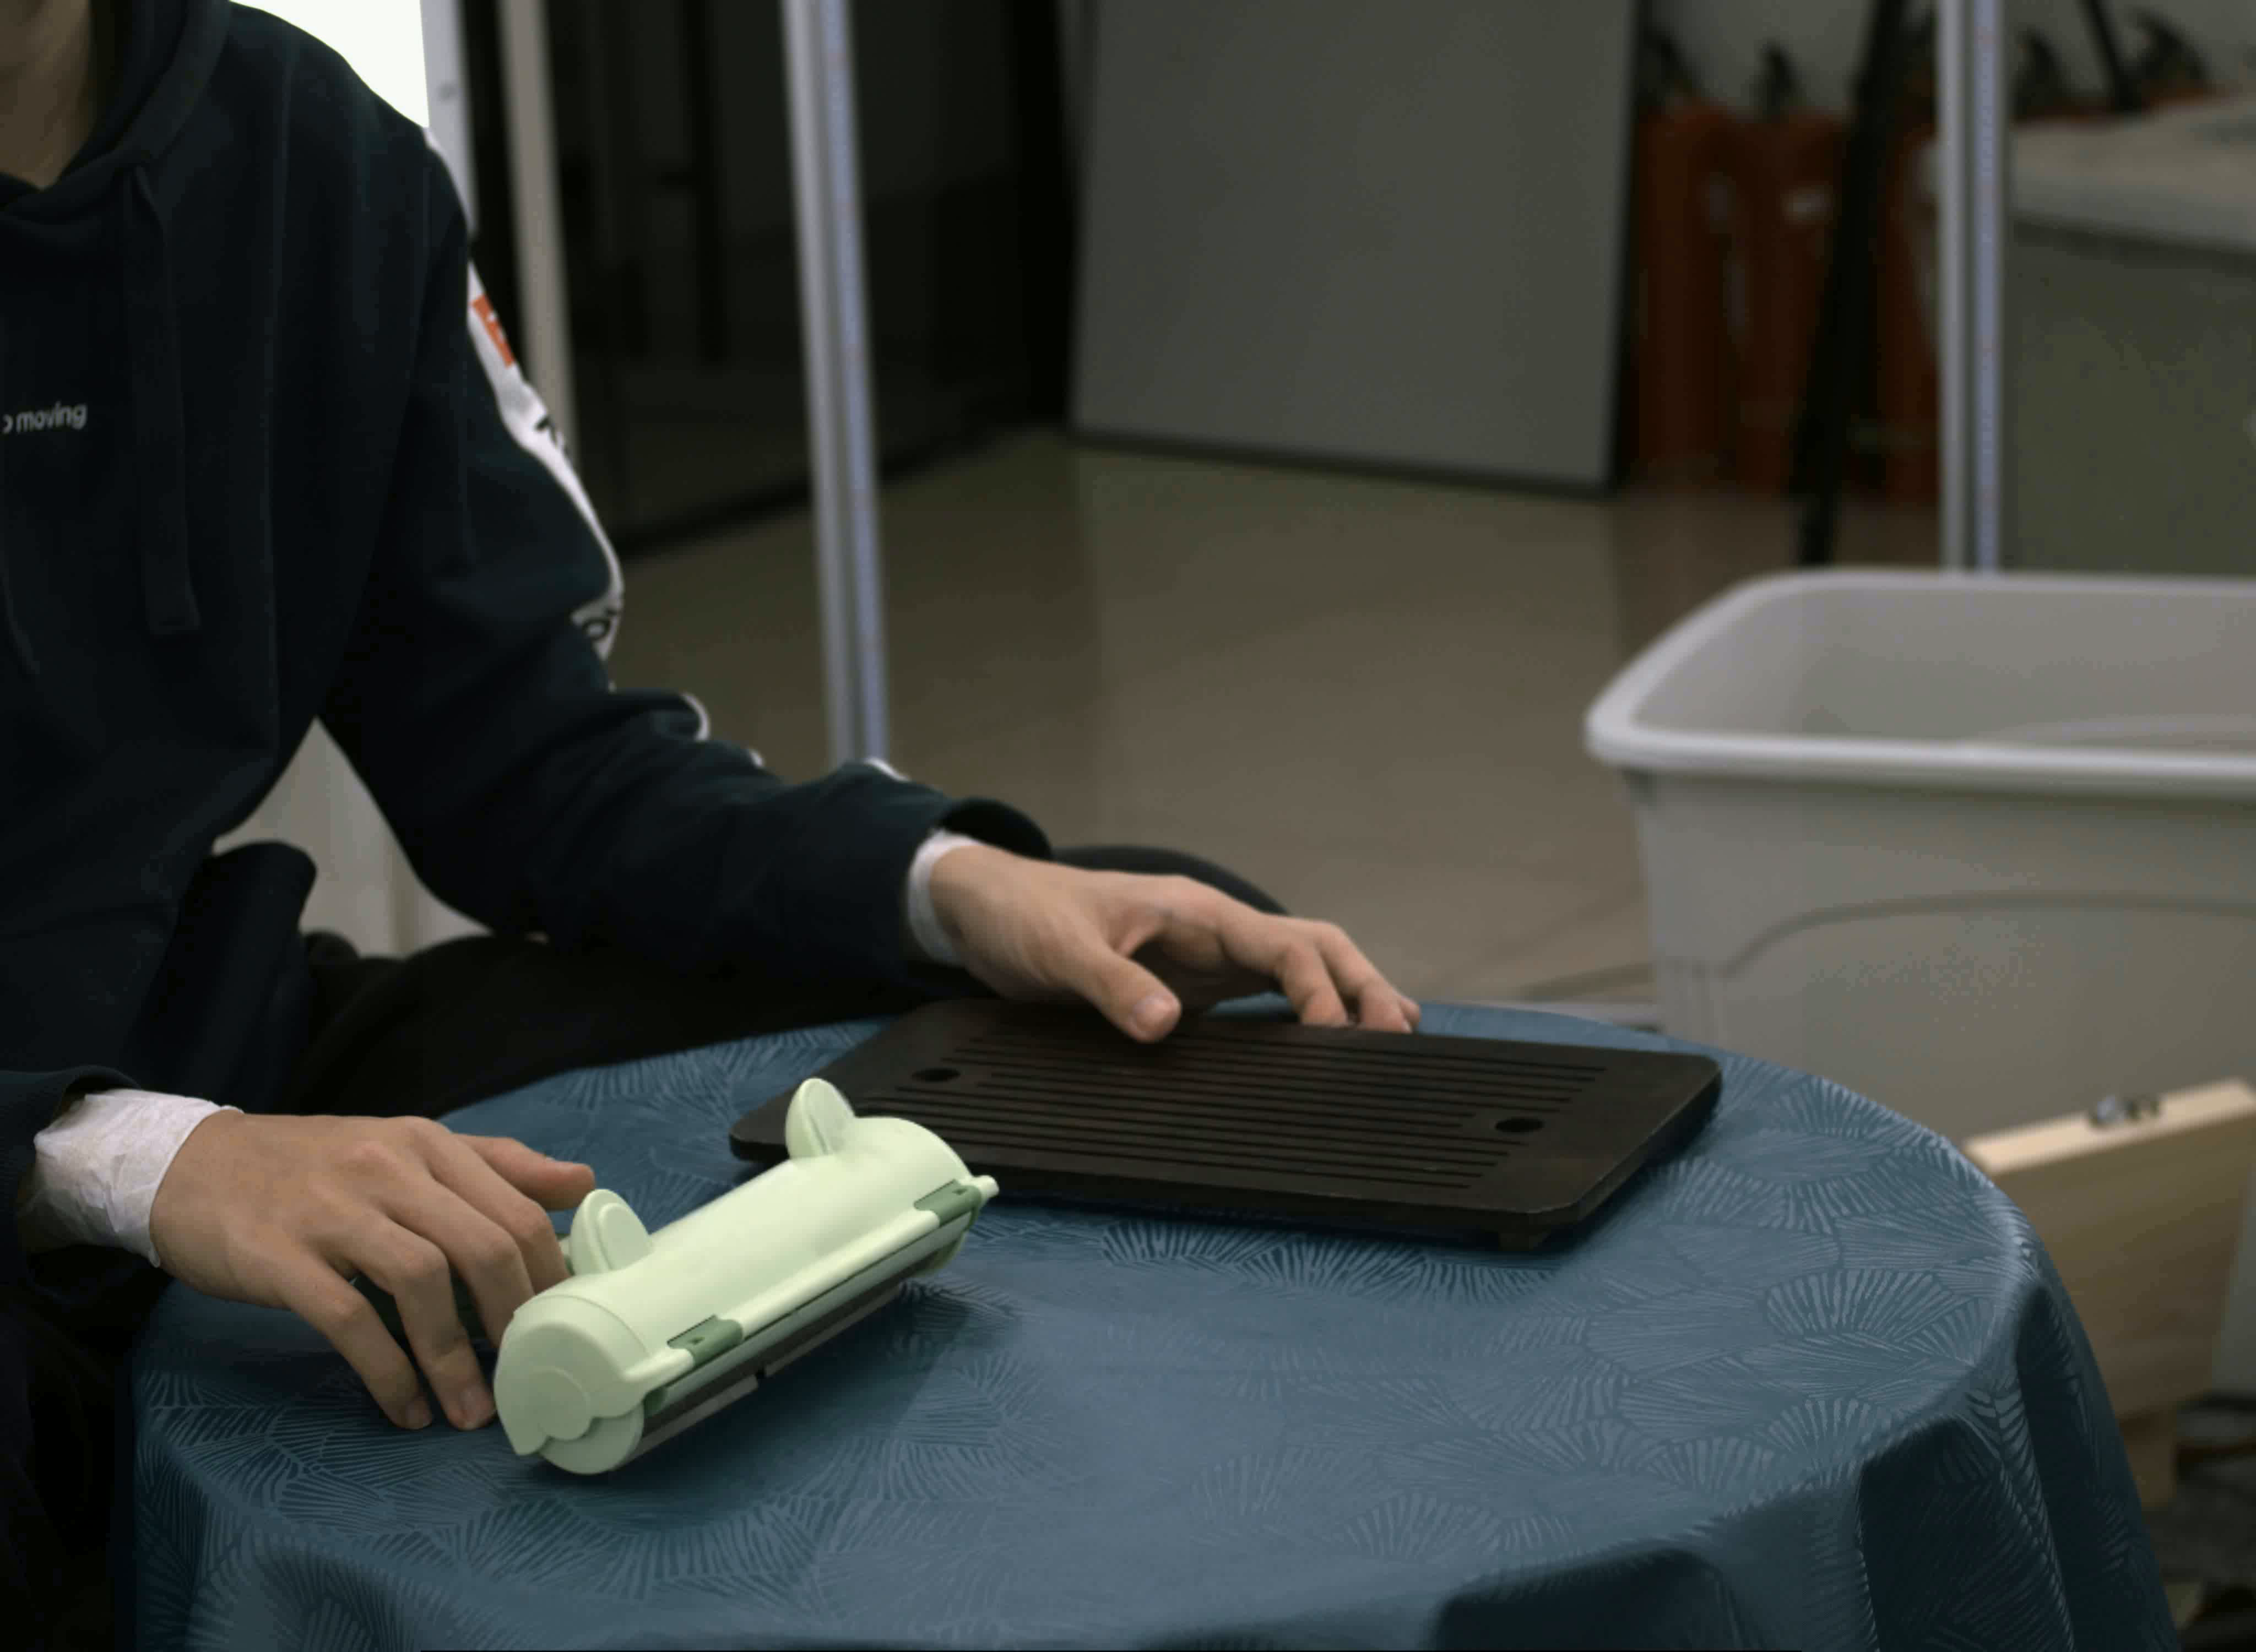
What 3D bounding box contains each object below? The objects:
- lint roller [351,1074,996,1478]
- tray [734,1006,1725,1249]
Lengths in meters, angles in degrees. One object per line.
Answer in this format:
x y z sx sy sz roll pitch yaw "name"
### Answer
-0.162 0.125 1.637 0.184 0.083 0.195 8 18 30 "lint roller"
0.035 0.099 1.811 0.306 0.019 0.168 3 16 26 "tray"
